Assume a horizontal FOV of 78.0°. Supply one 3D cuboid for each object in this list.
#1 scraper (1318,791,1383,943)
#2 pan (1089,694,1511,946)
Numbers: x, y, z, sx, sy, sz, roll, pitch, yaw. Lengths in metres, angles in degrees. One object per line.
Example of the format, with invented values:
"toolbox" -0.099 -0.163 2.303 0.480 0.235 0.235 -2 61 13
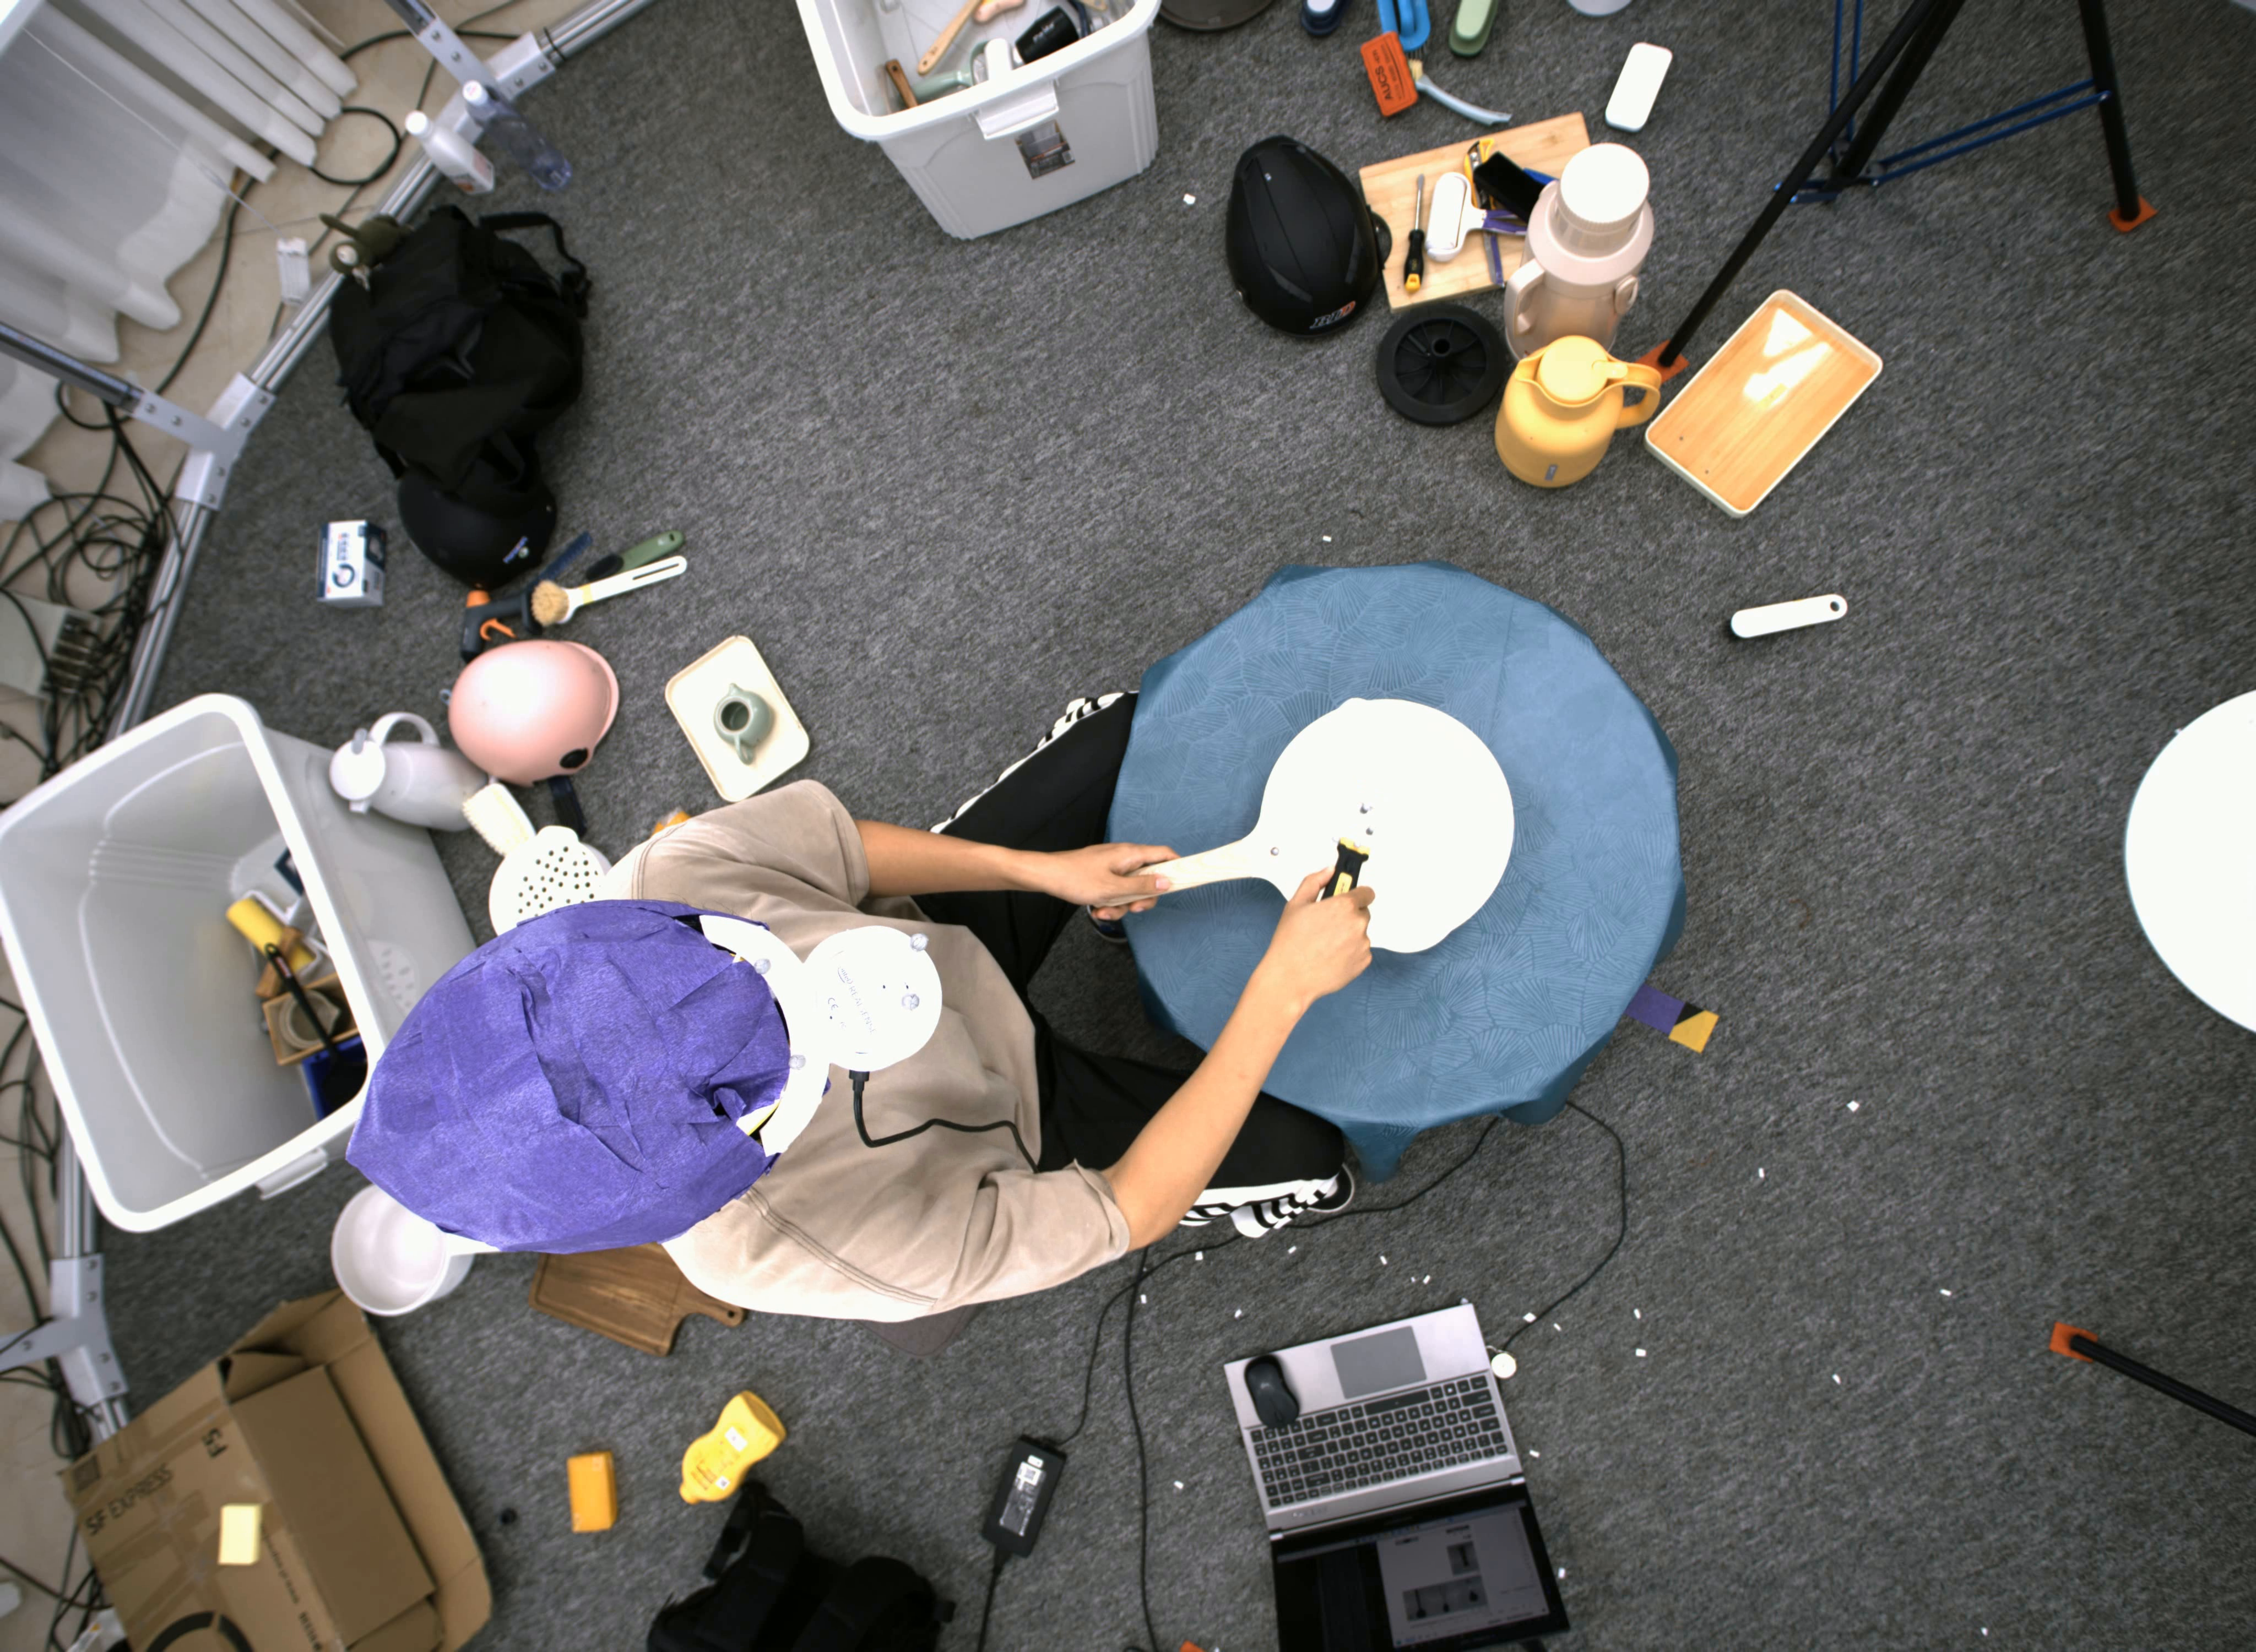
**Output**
"scraper" 0.212 0.038 1.318 0.039 0.015 0.167 25 58 -7
"pan" 0.175 0.018 1.435 0.437 0.102 0.262 -15 86 10
